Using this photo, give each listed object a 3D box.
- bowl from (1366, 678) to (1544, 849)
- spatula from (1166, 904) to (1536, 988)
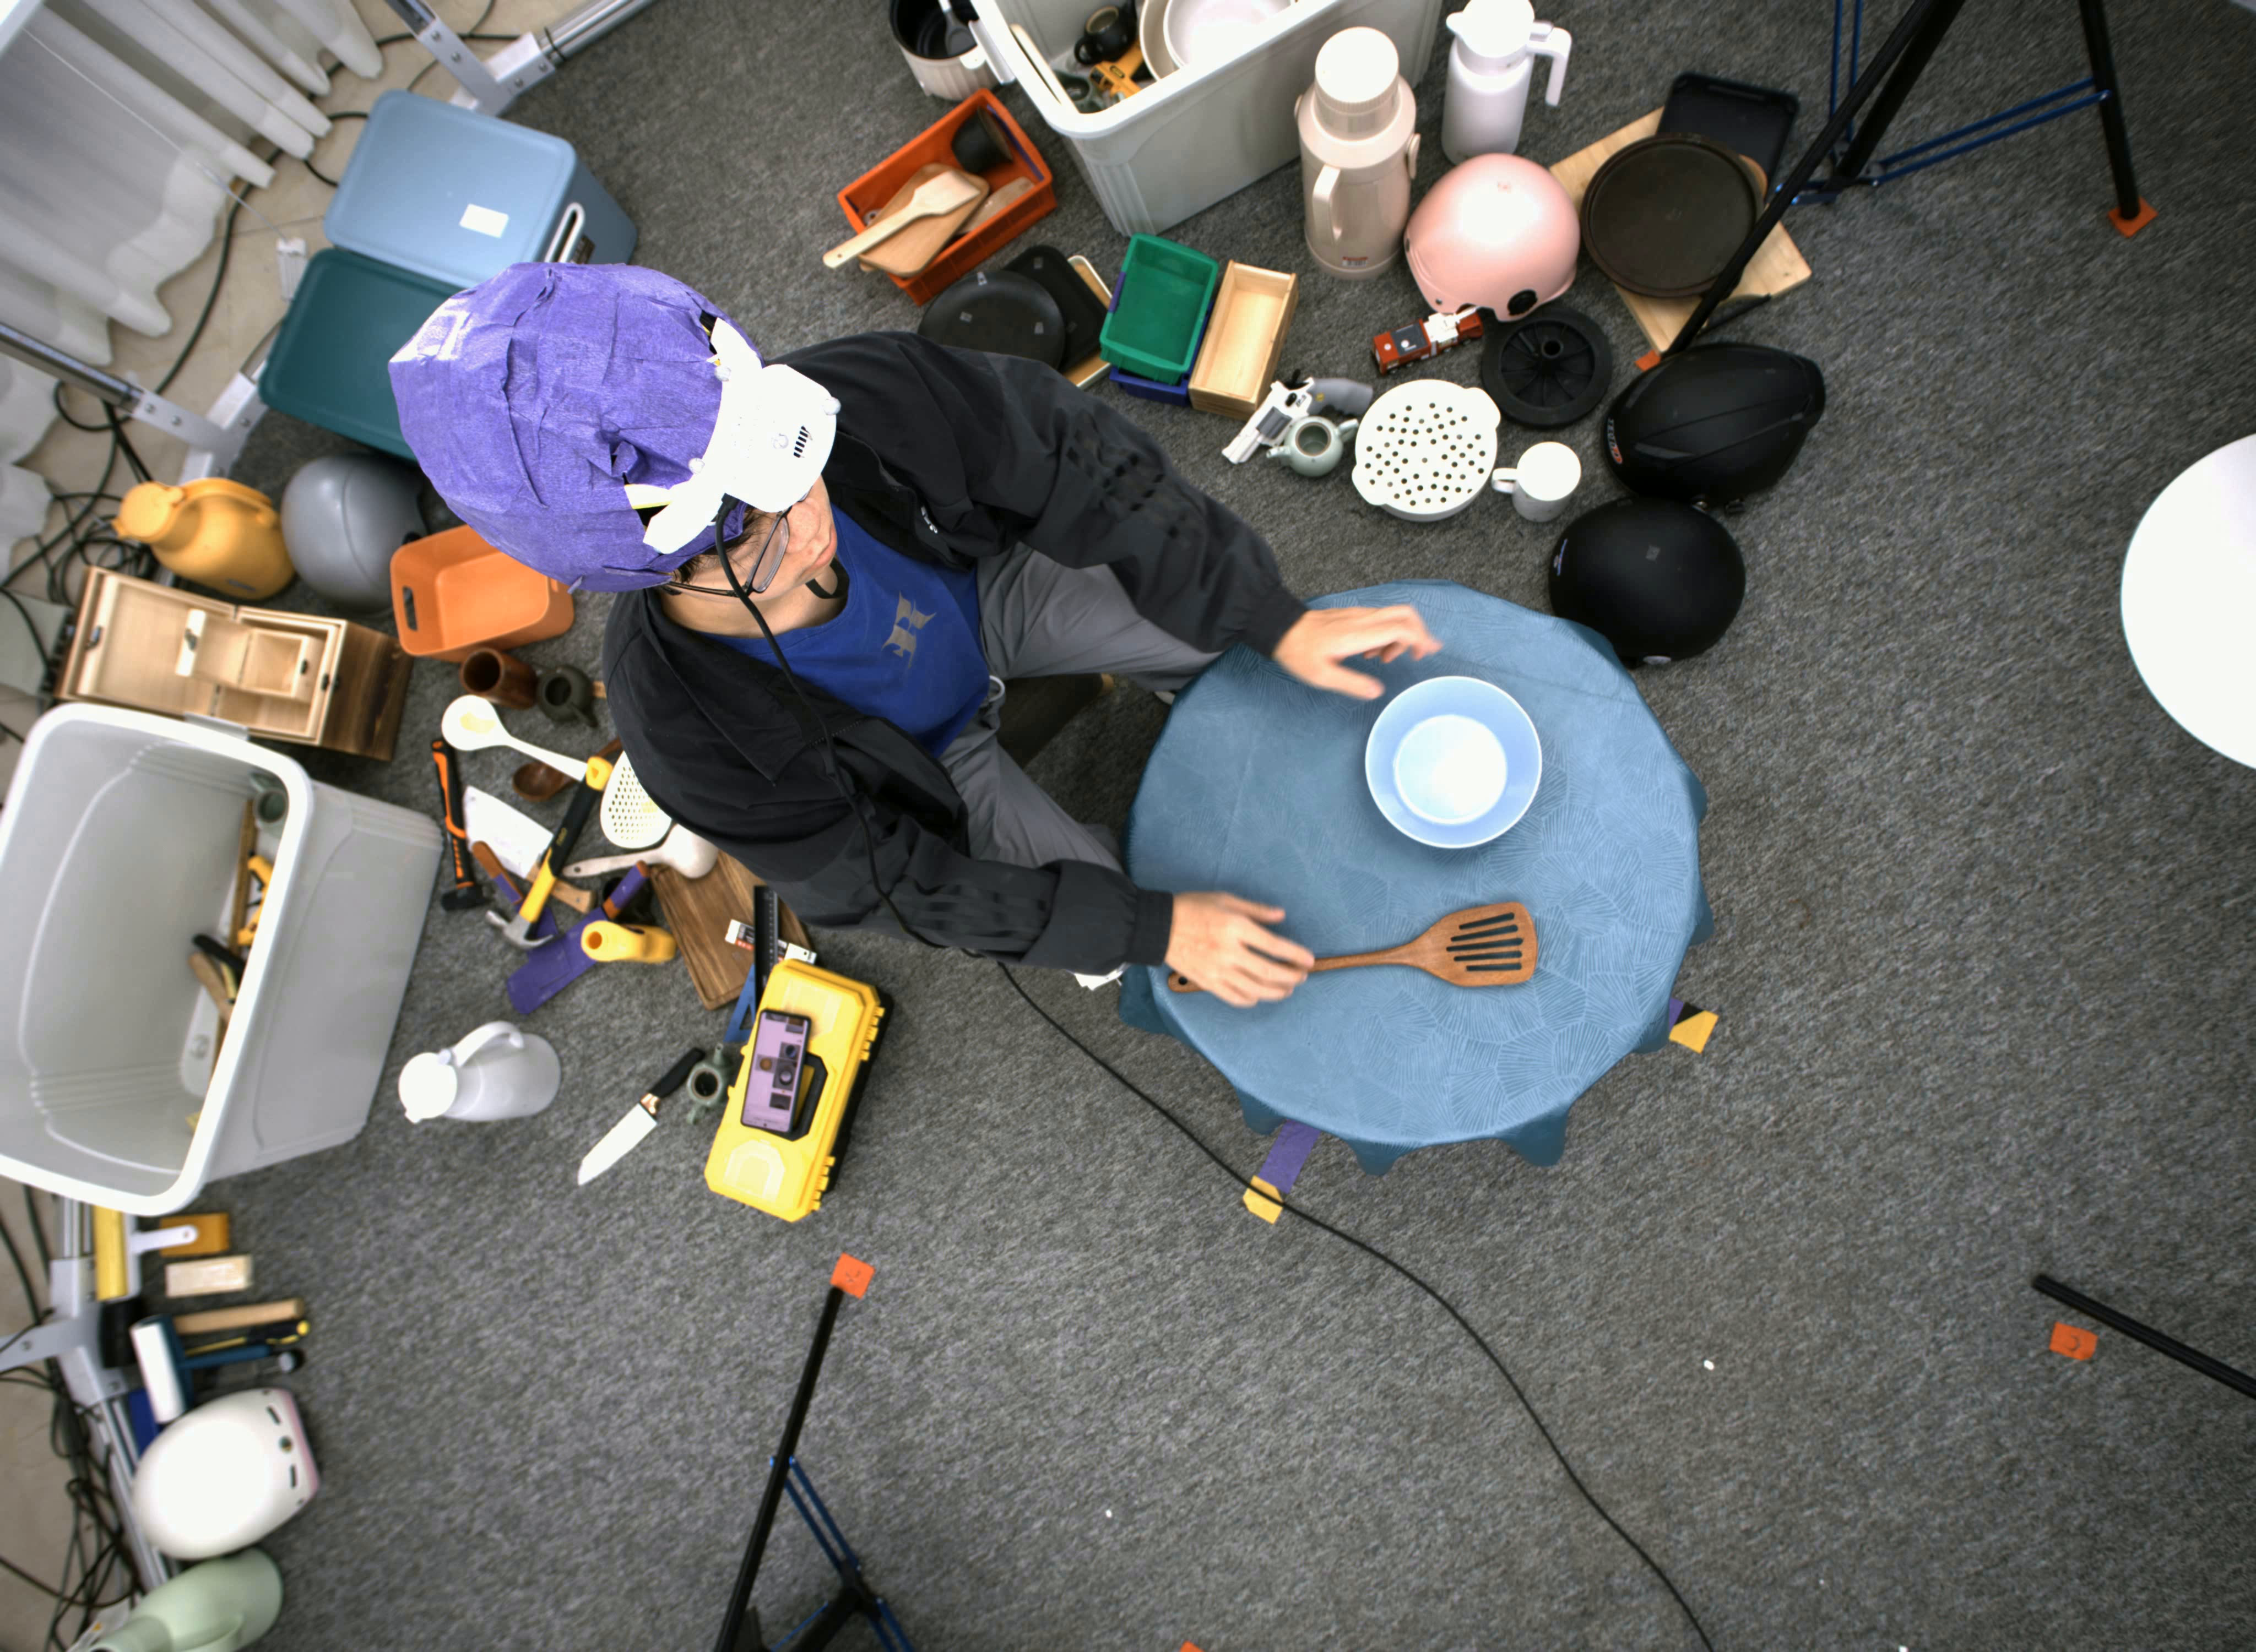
[{"bbox_3d":[0.335,-0.062,1.417,0.177,0.070,0.175,-1,86,12],"label":"bowl"},{"bbox_3d":[0.229,0.141,1.452,0.389,0.024,0.085,-7,84,12],"label":"spatula"}]
